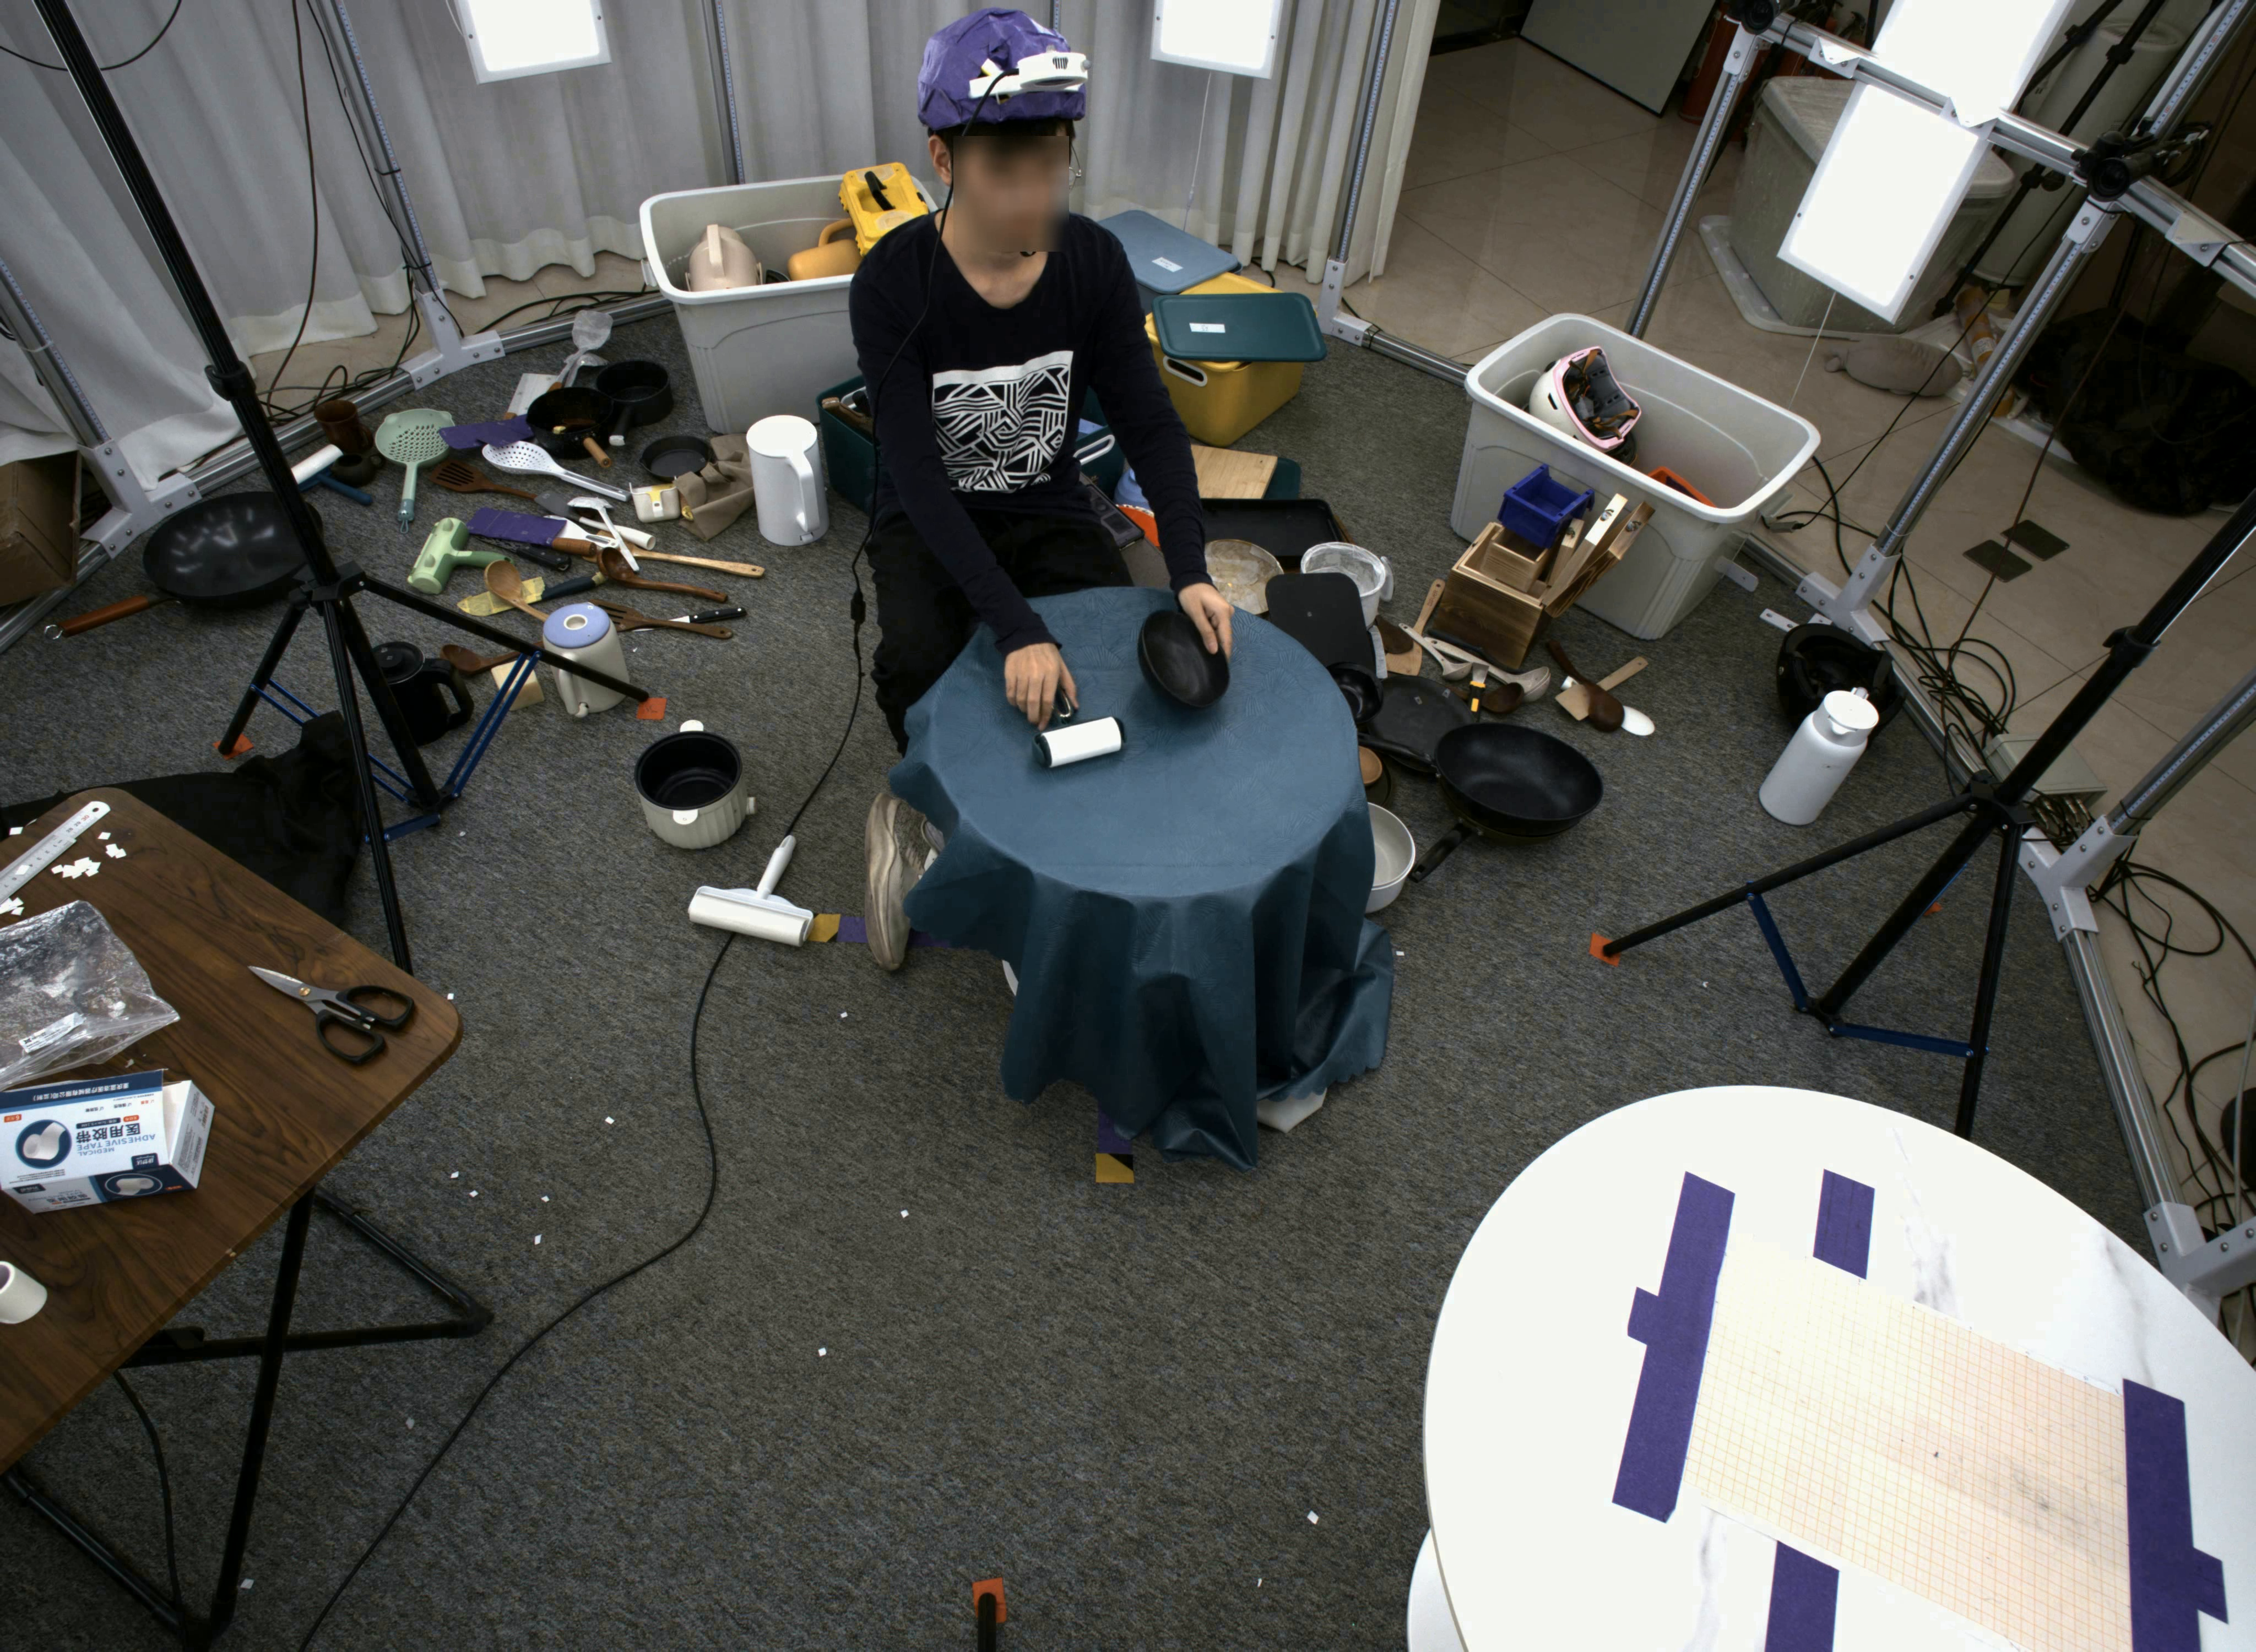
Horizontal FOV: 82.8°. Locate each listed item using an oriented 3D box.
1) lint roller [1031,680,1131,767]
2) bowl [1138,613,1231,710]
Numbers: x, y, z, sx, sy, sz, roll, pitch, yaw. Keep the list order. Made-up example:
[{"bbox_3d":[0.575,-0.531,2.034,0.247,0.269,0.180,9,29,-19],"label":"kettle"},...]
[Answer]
[{"bbox_3d":[-0.089,-0.161,1.775,0.134,0.047,0.184,-15,49,-16],"label":"lint roller"},{"bbox_3d":[0.068,-0.225,1.810,0.136,0.065,0.174,3,57,-28],"label":"bowl"}]
